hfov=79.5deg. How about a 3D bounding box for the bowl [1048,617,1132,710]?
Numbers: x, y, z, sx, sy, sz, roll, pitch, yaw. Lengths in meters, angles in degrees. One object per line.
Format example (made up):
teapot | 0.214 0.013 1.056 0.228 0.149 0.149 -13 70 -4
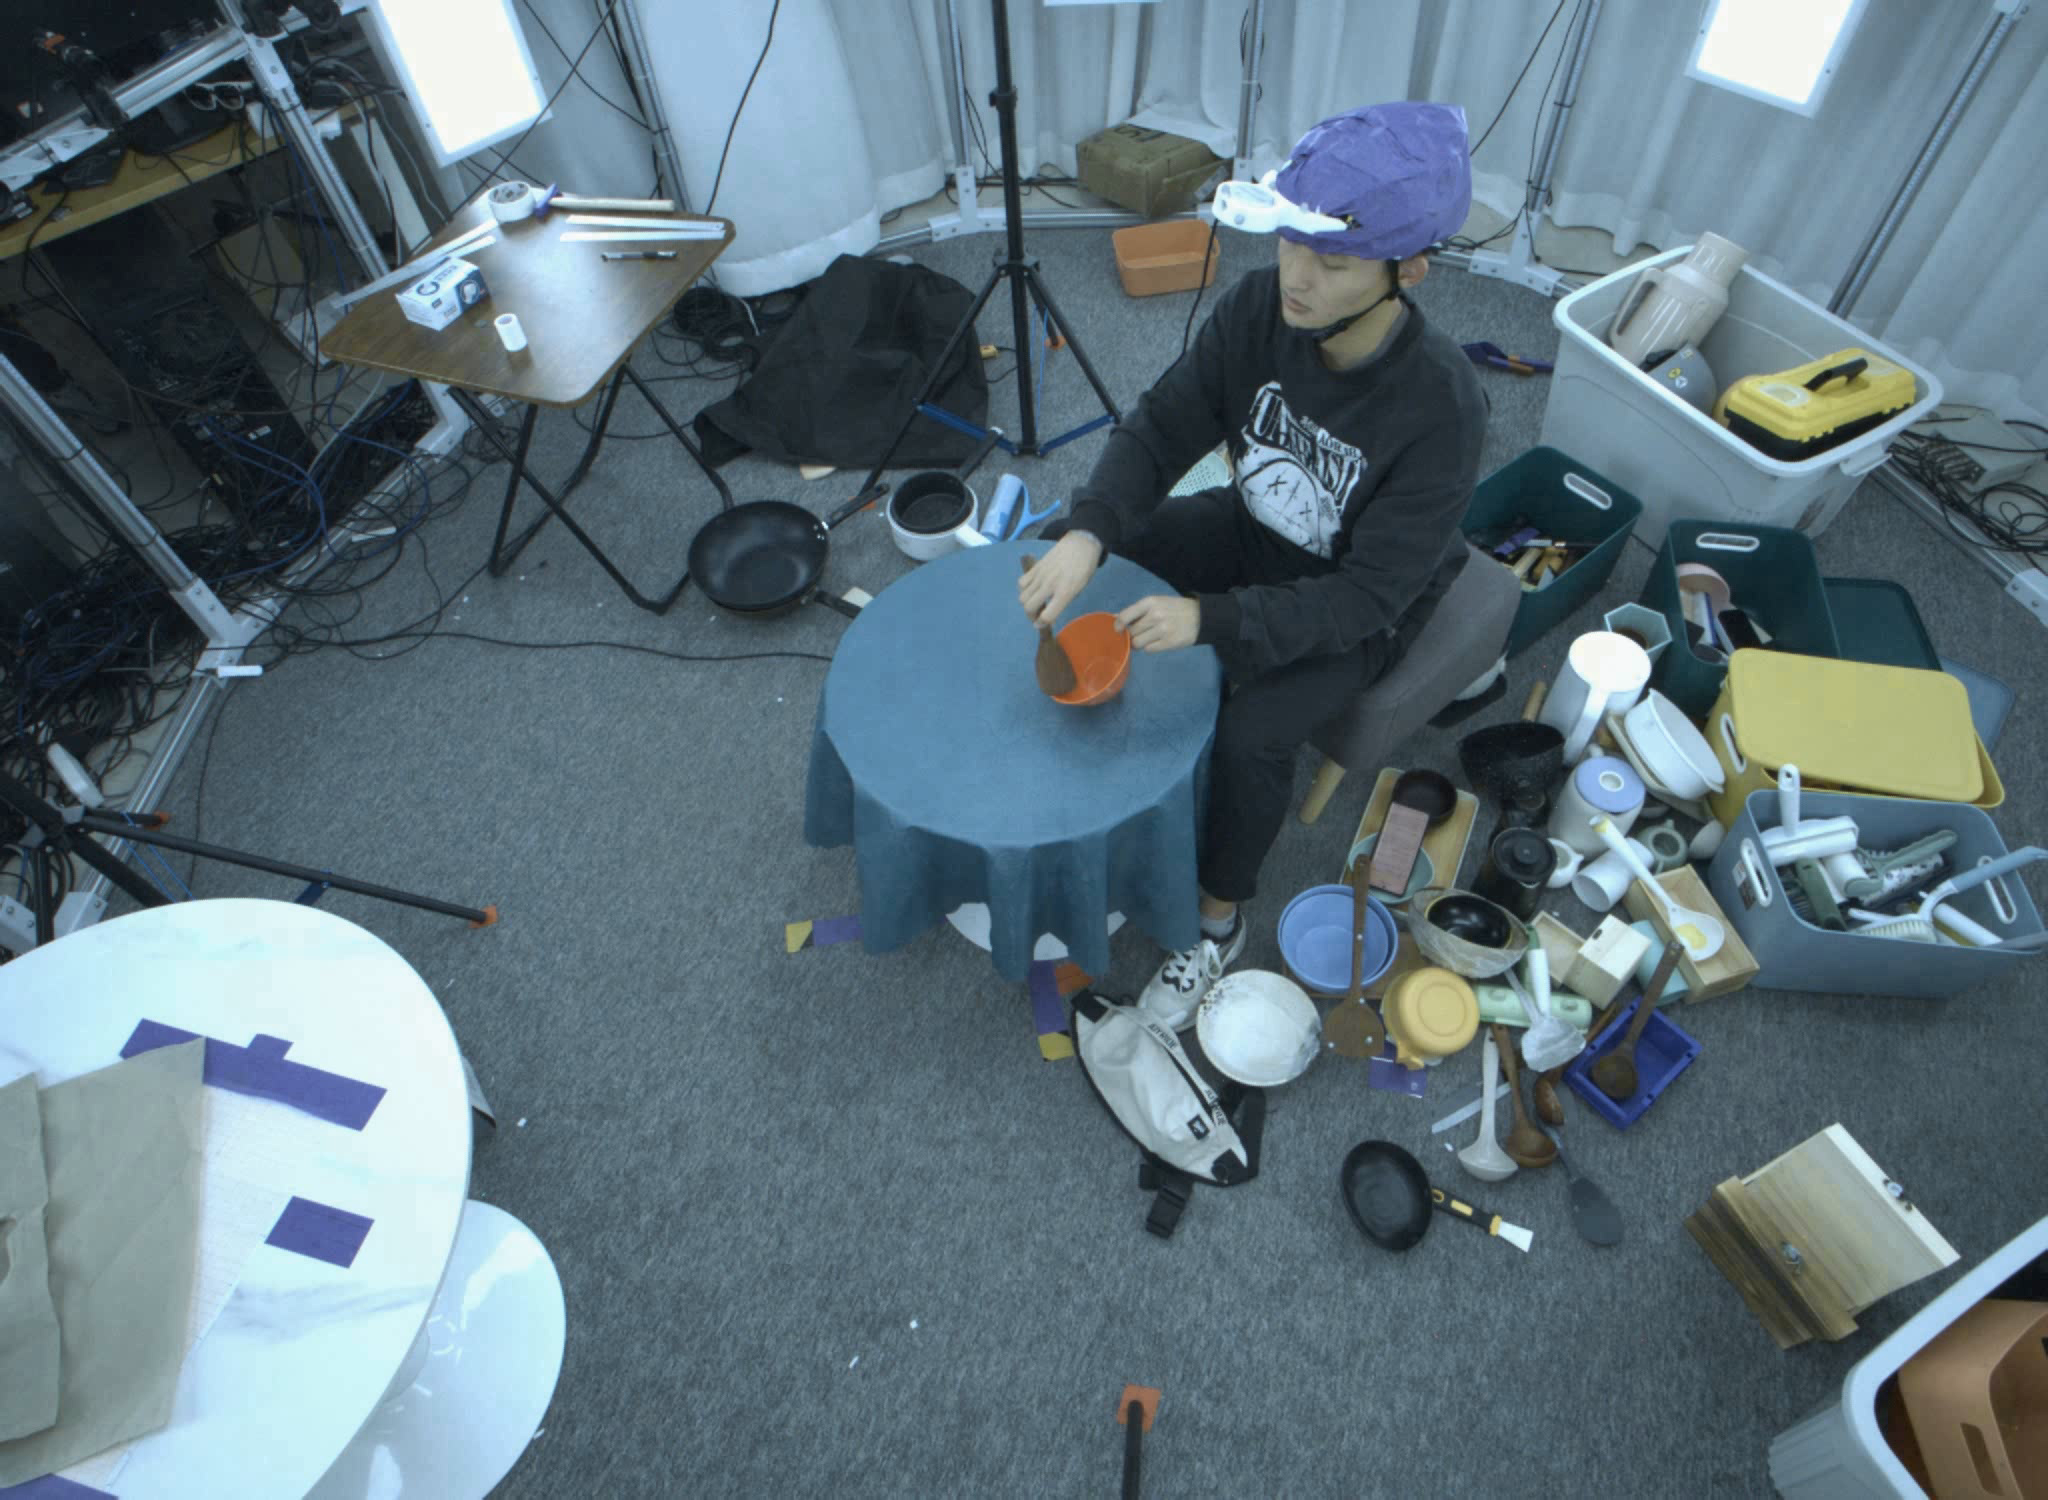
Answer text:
bowl | 0.107 -0.112 1.800 0.146 0.107 0.147 -10 66 23

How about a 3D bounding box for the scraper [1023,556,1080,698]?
scraper | 0.030 -0.179 1.783 0.077 0.010 0.211 -13 90 -42
